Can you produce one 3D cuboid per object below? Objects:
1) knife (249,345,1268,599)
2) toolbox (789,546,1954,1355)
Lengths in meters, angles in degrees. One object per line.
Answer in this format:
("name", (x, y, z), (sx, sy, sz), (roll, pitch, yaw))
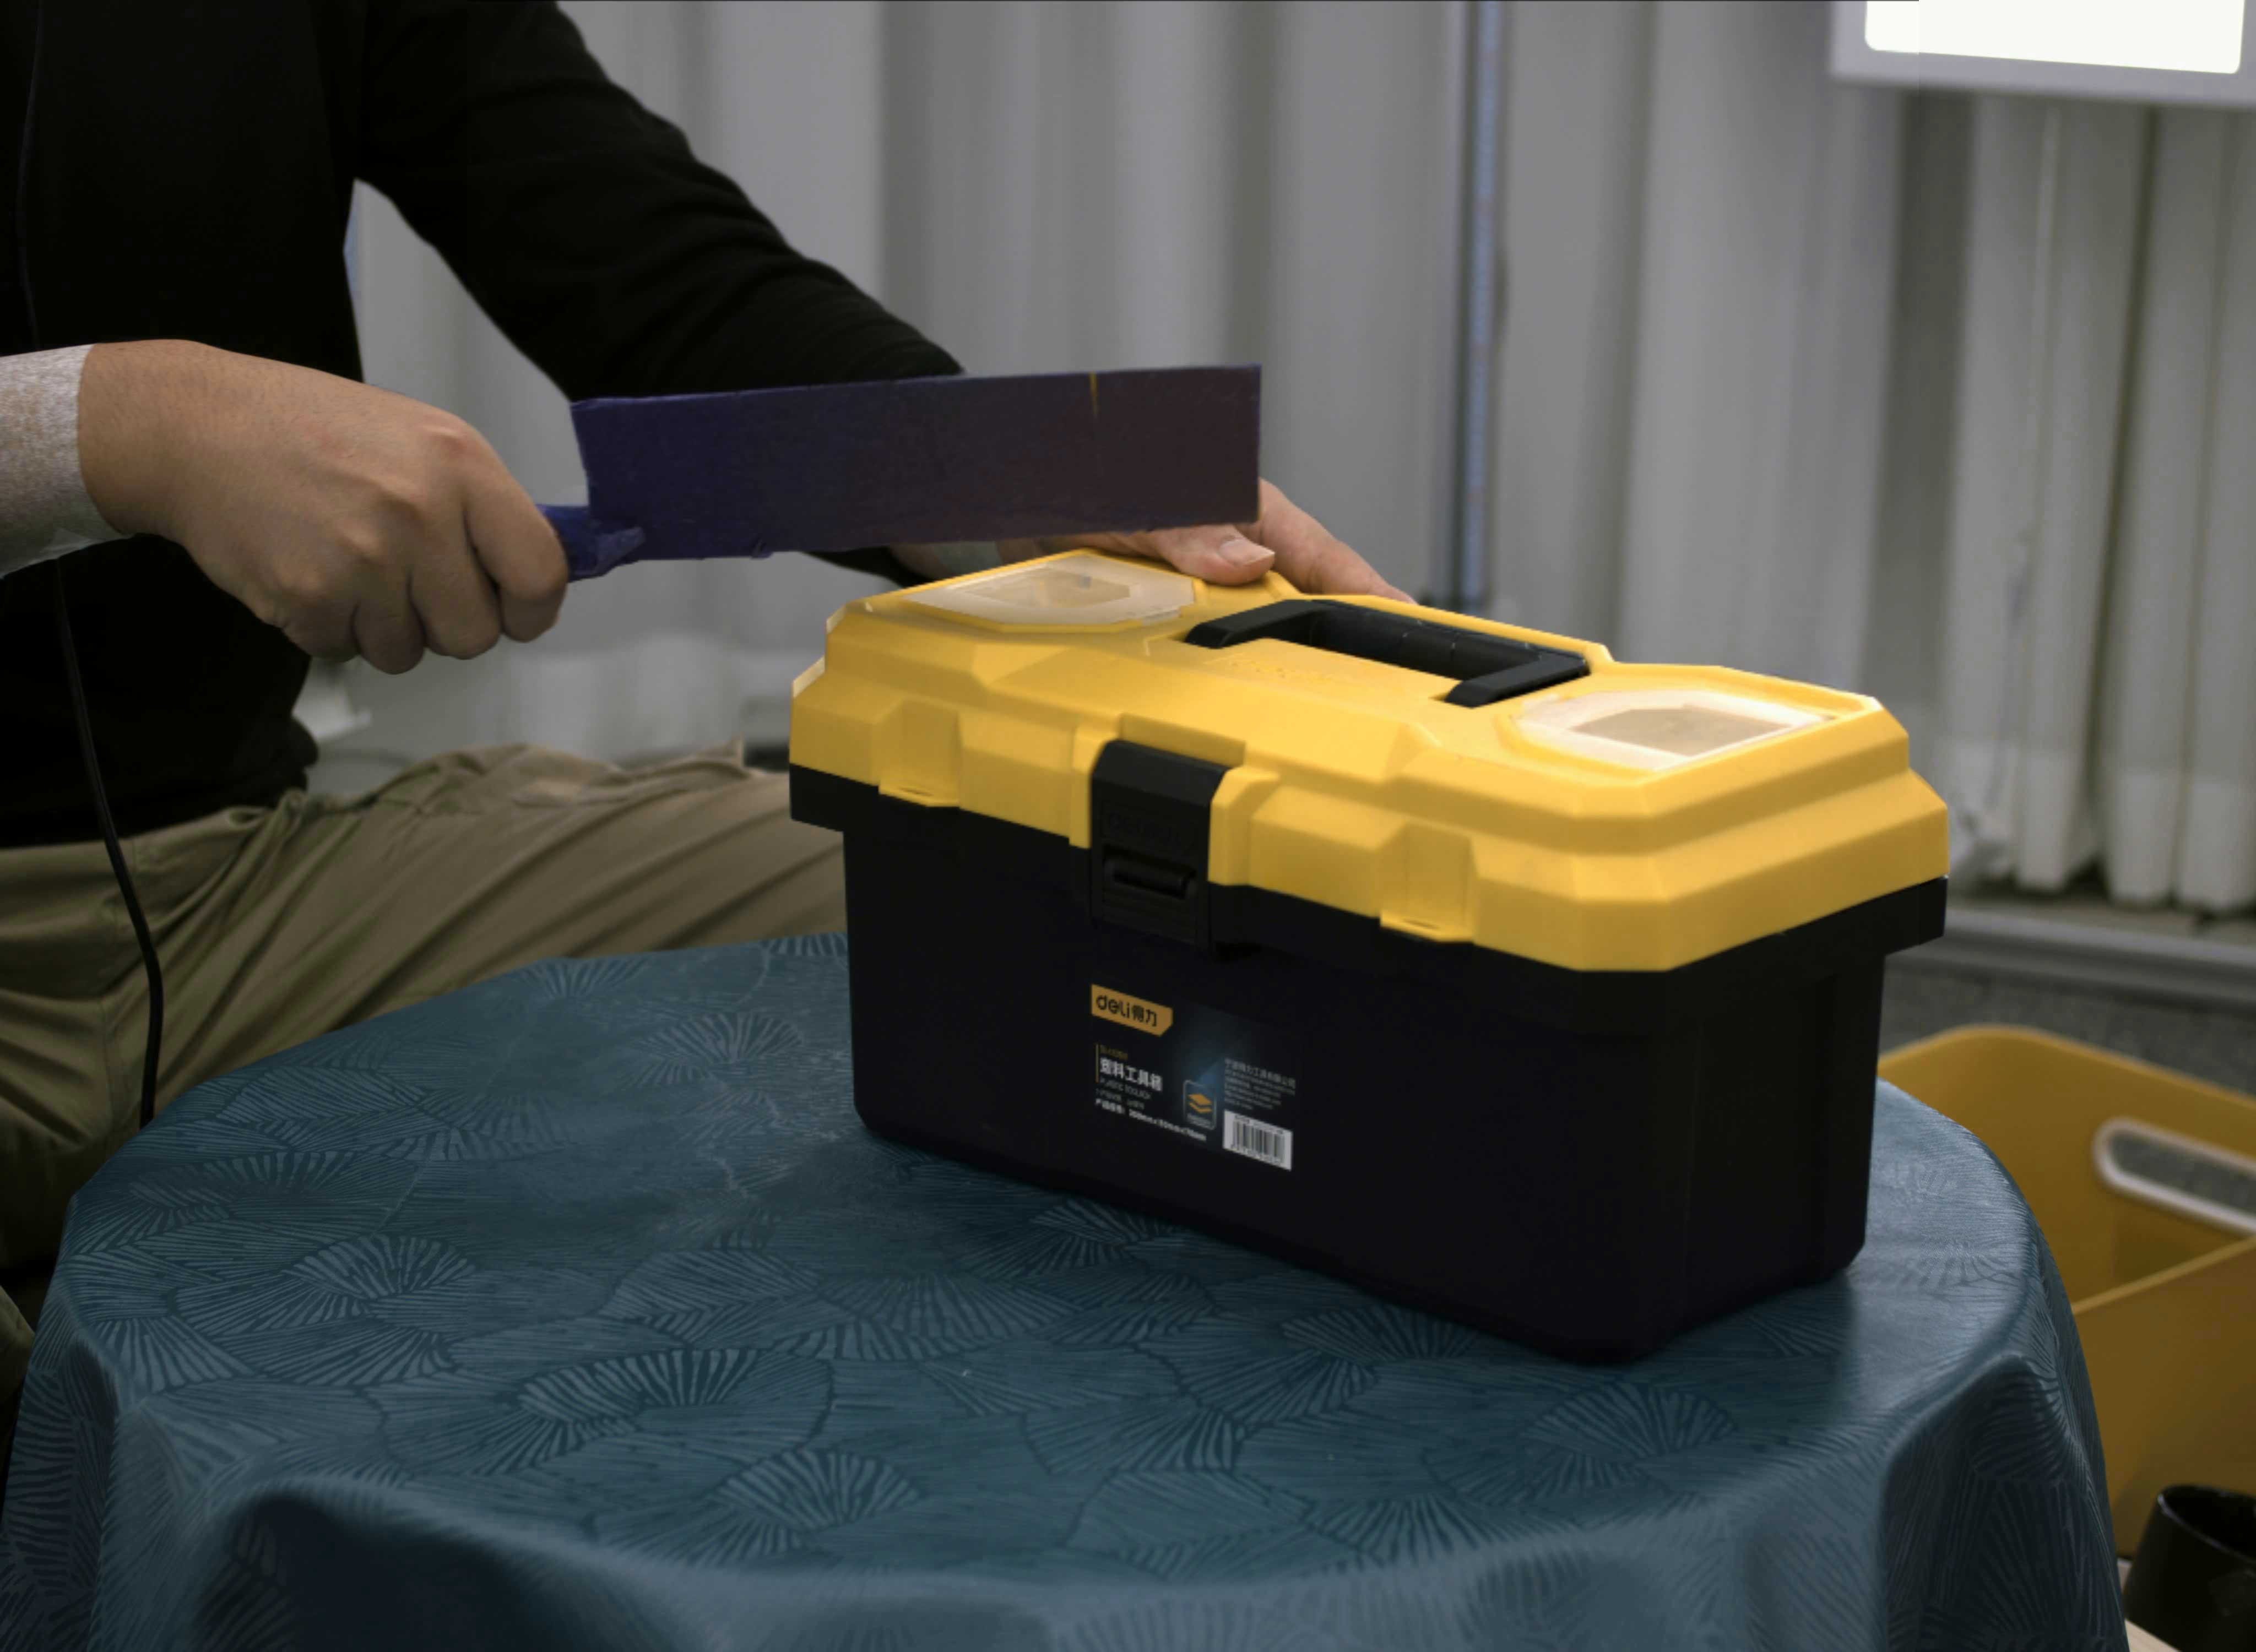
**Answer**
("knife", (-0.114, -0.110, 1.603), (0.314, 0.105, 0.032), (-4, 60, -3))
("toolbox", (0.065, 0.030, 1.594), (0.347, 0.174, 0.182), (14, 20, 42))
